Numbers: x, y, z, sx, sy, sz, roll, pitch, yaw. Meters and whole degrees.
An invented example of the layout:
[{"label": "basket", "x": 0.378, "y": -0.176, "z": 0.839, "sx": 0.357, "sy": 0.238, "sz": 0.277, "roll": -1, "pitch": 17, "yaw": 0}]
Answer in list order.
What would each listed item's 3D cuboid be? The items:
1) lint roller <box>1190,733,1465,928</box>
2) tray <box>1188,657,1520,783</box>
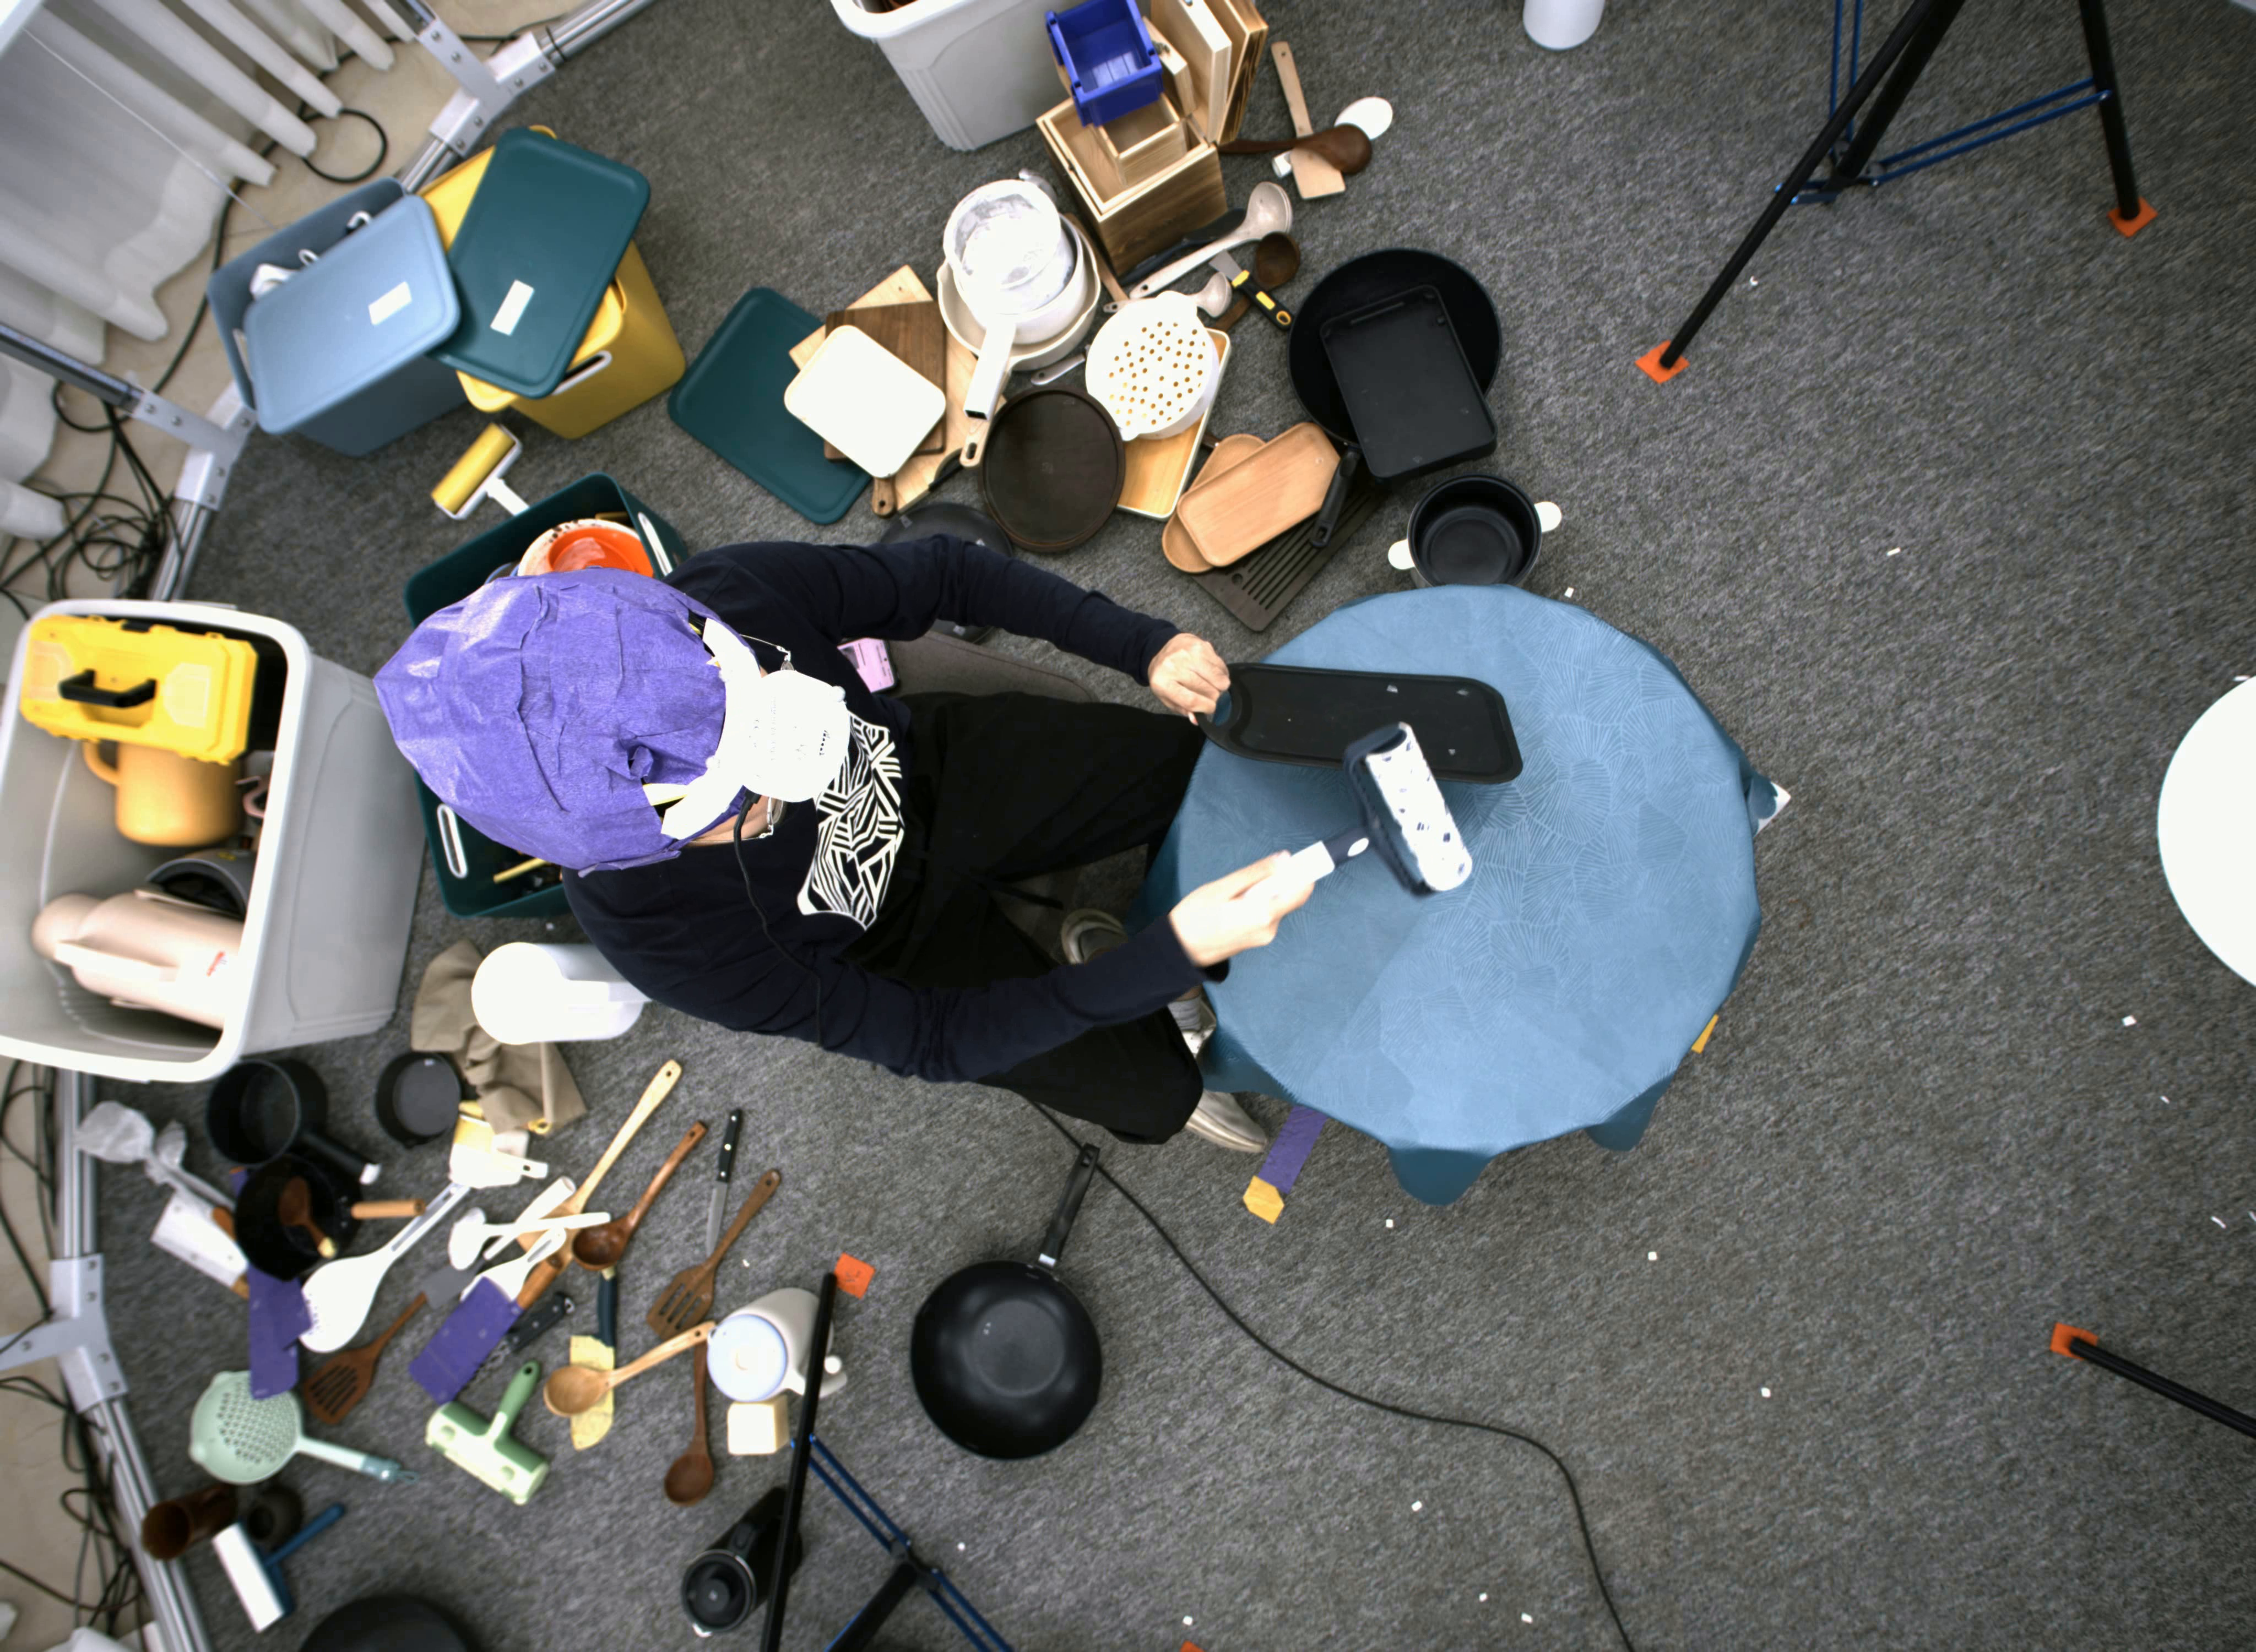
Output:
[{"label": "lint roller", "x": 0.170, "y": 0.038, "z": 1.260, "sx": 0.249, "sy": 0.049, "sz": 0.179, "roll": -28, "pitch": 122, "yaw": 10}, {"label": "tray", "x": 0.223, "y": -0.112, "z": 1.377, "sx": 0.326, "sy": 0.205, "sz": 0.010, "roll": 6, "pitch": 125, "yaw": 3}]
